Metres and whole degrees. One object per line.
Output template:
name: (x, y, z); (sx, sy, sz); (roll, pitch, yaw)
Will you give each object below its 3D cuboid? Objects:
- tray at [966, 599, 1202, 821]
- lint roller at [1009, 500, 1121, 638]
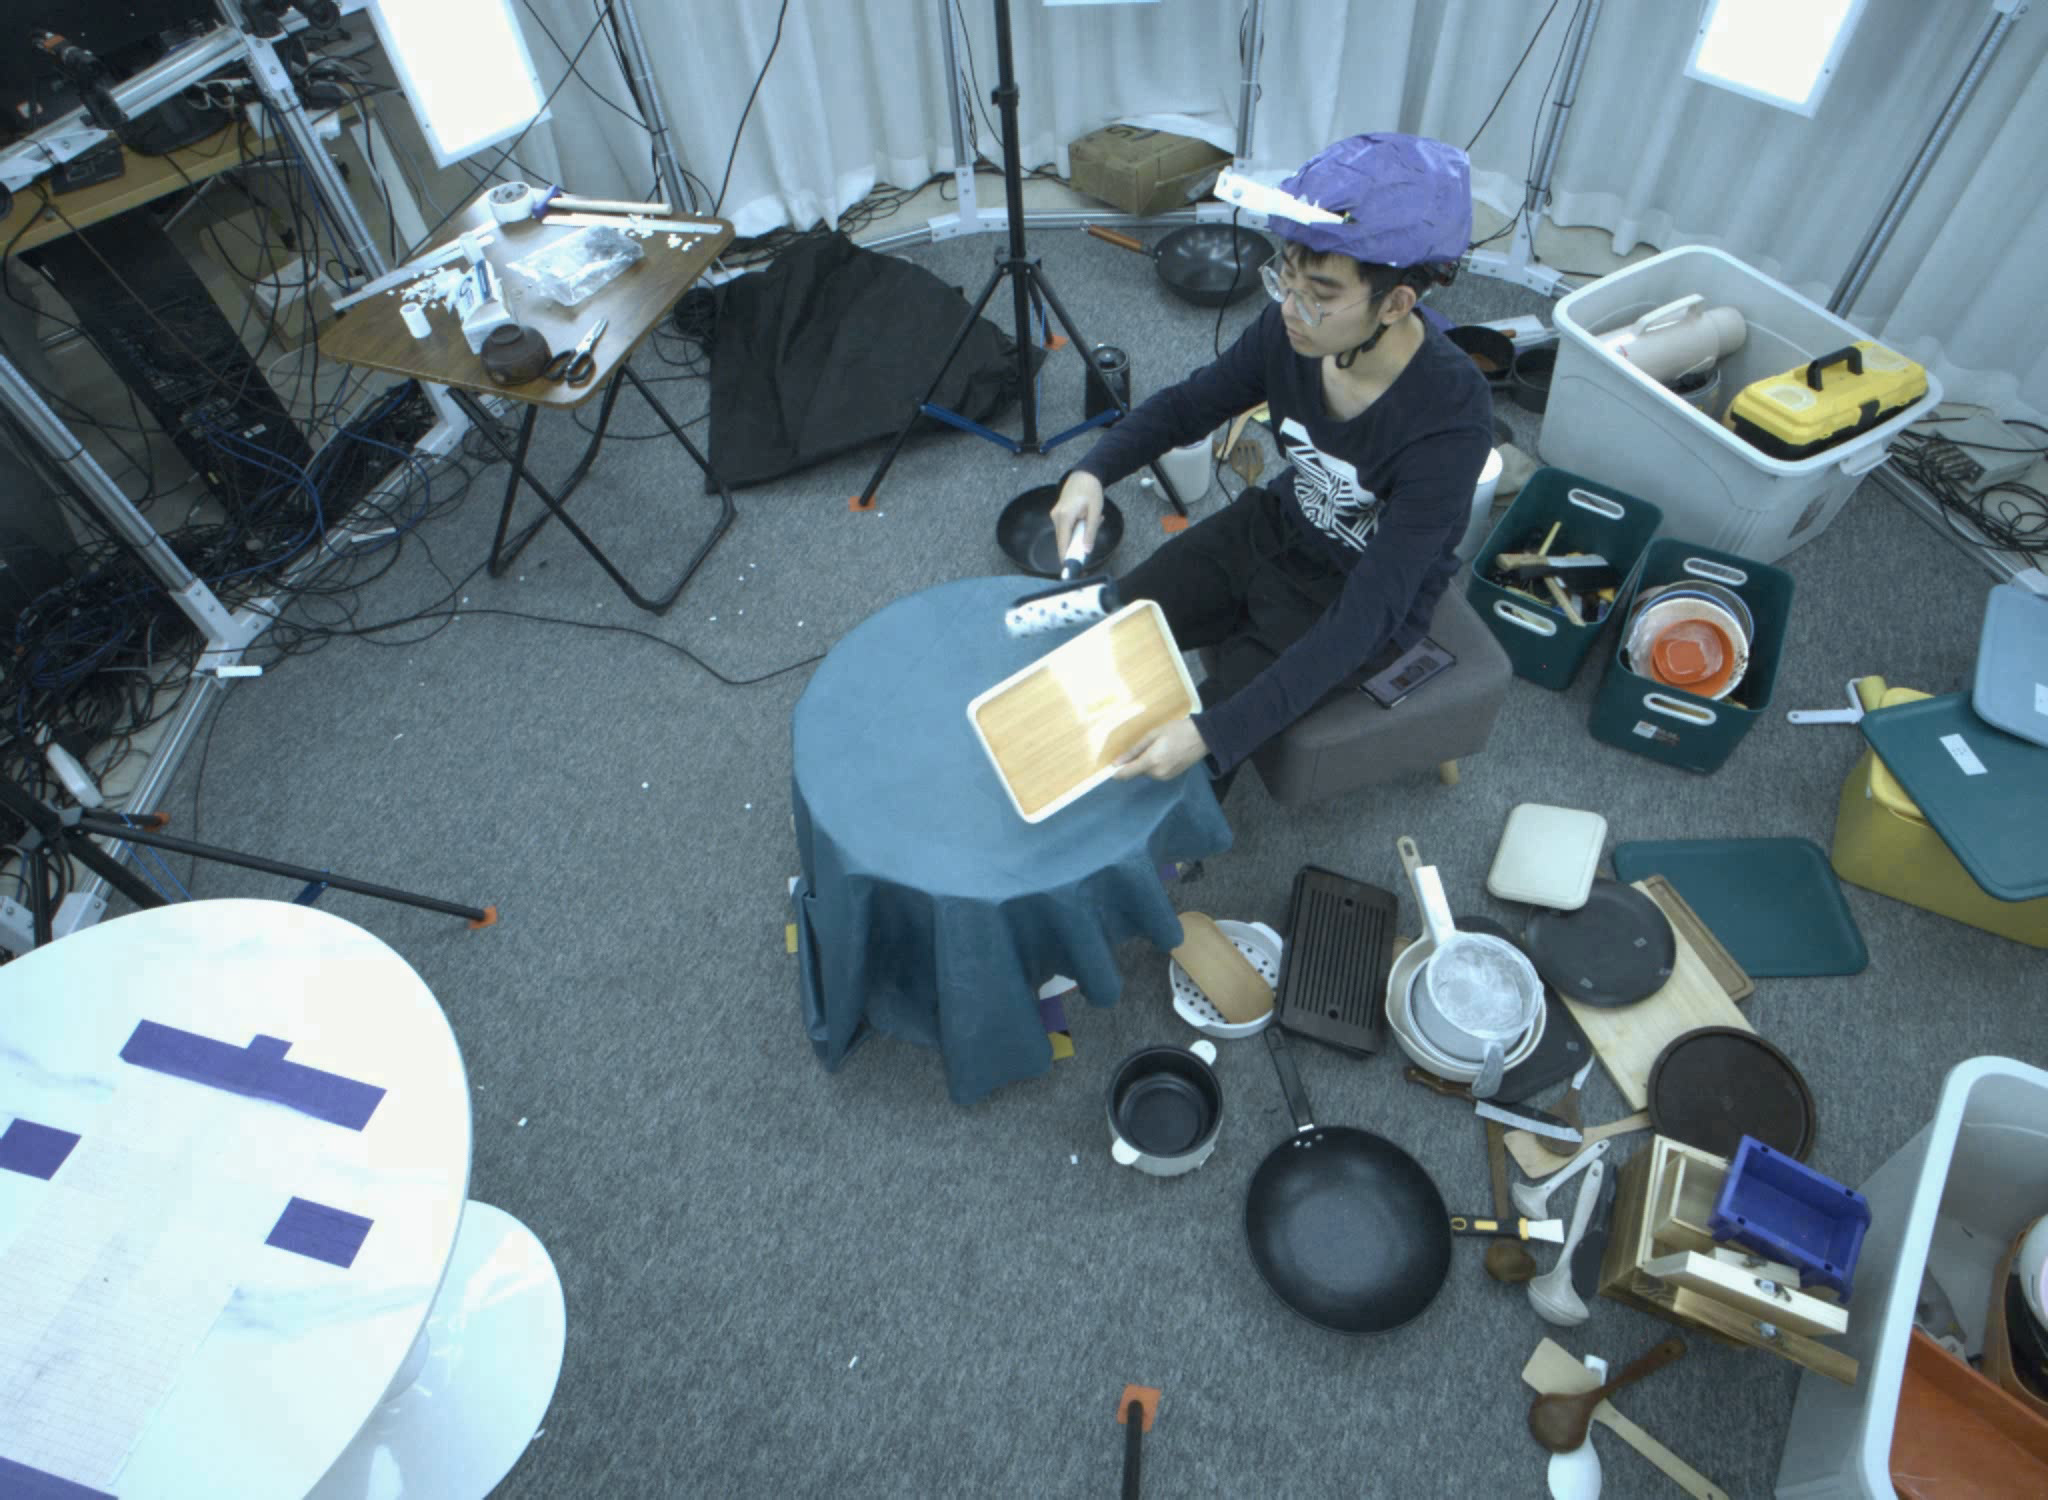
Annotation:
tray: (0.085, -0.055, 1.660); (0.302, 0.194, 0.027); (-32, 22, -14)
lint roller: (0.074, -0.282, 1.818); (0.173, 0.051, 0.245); (-11, 53, 33)
